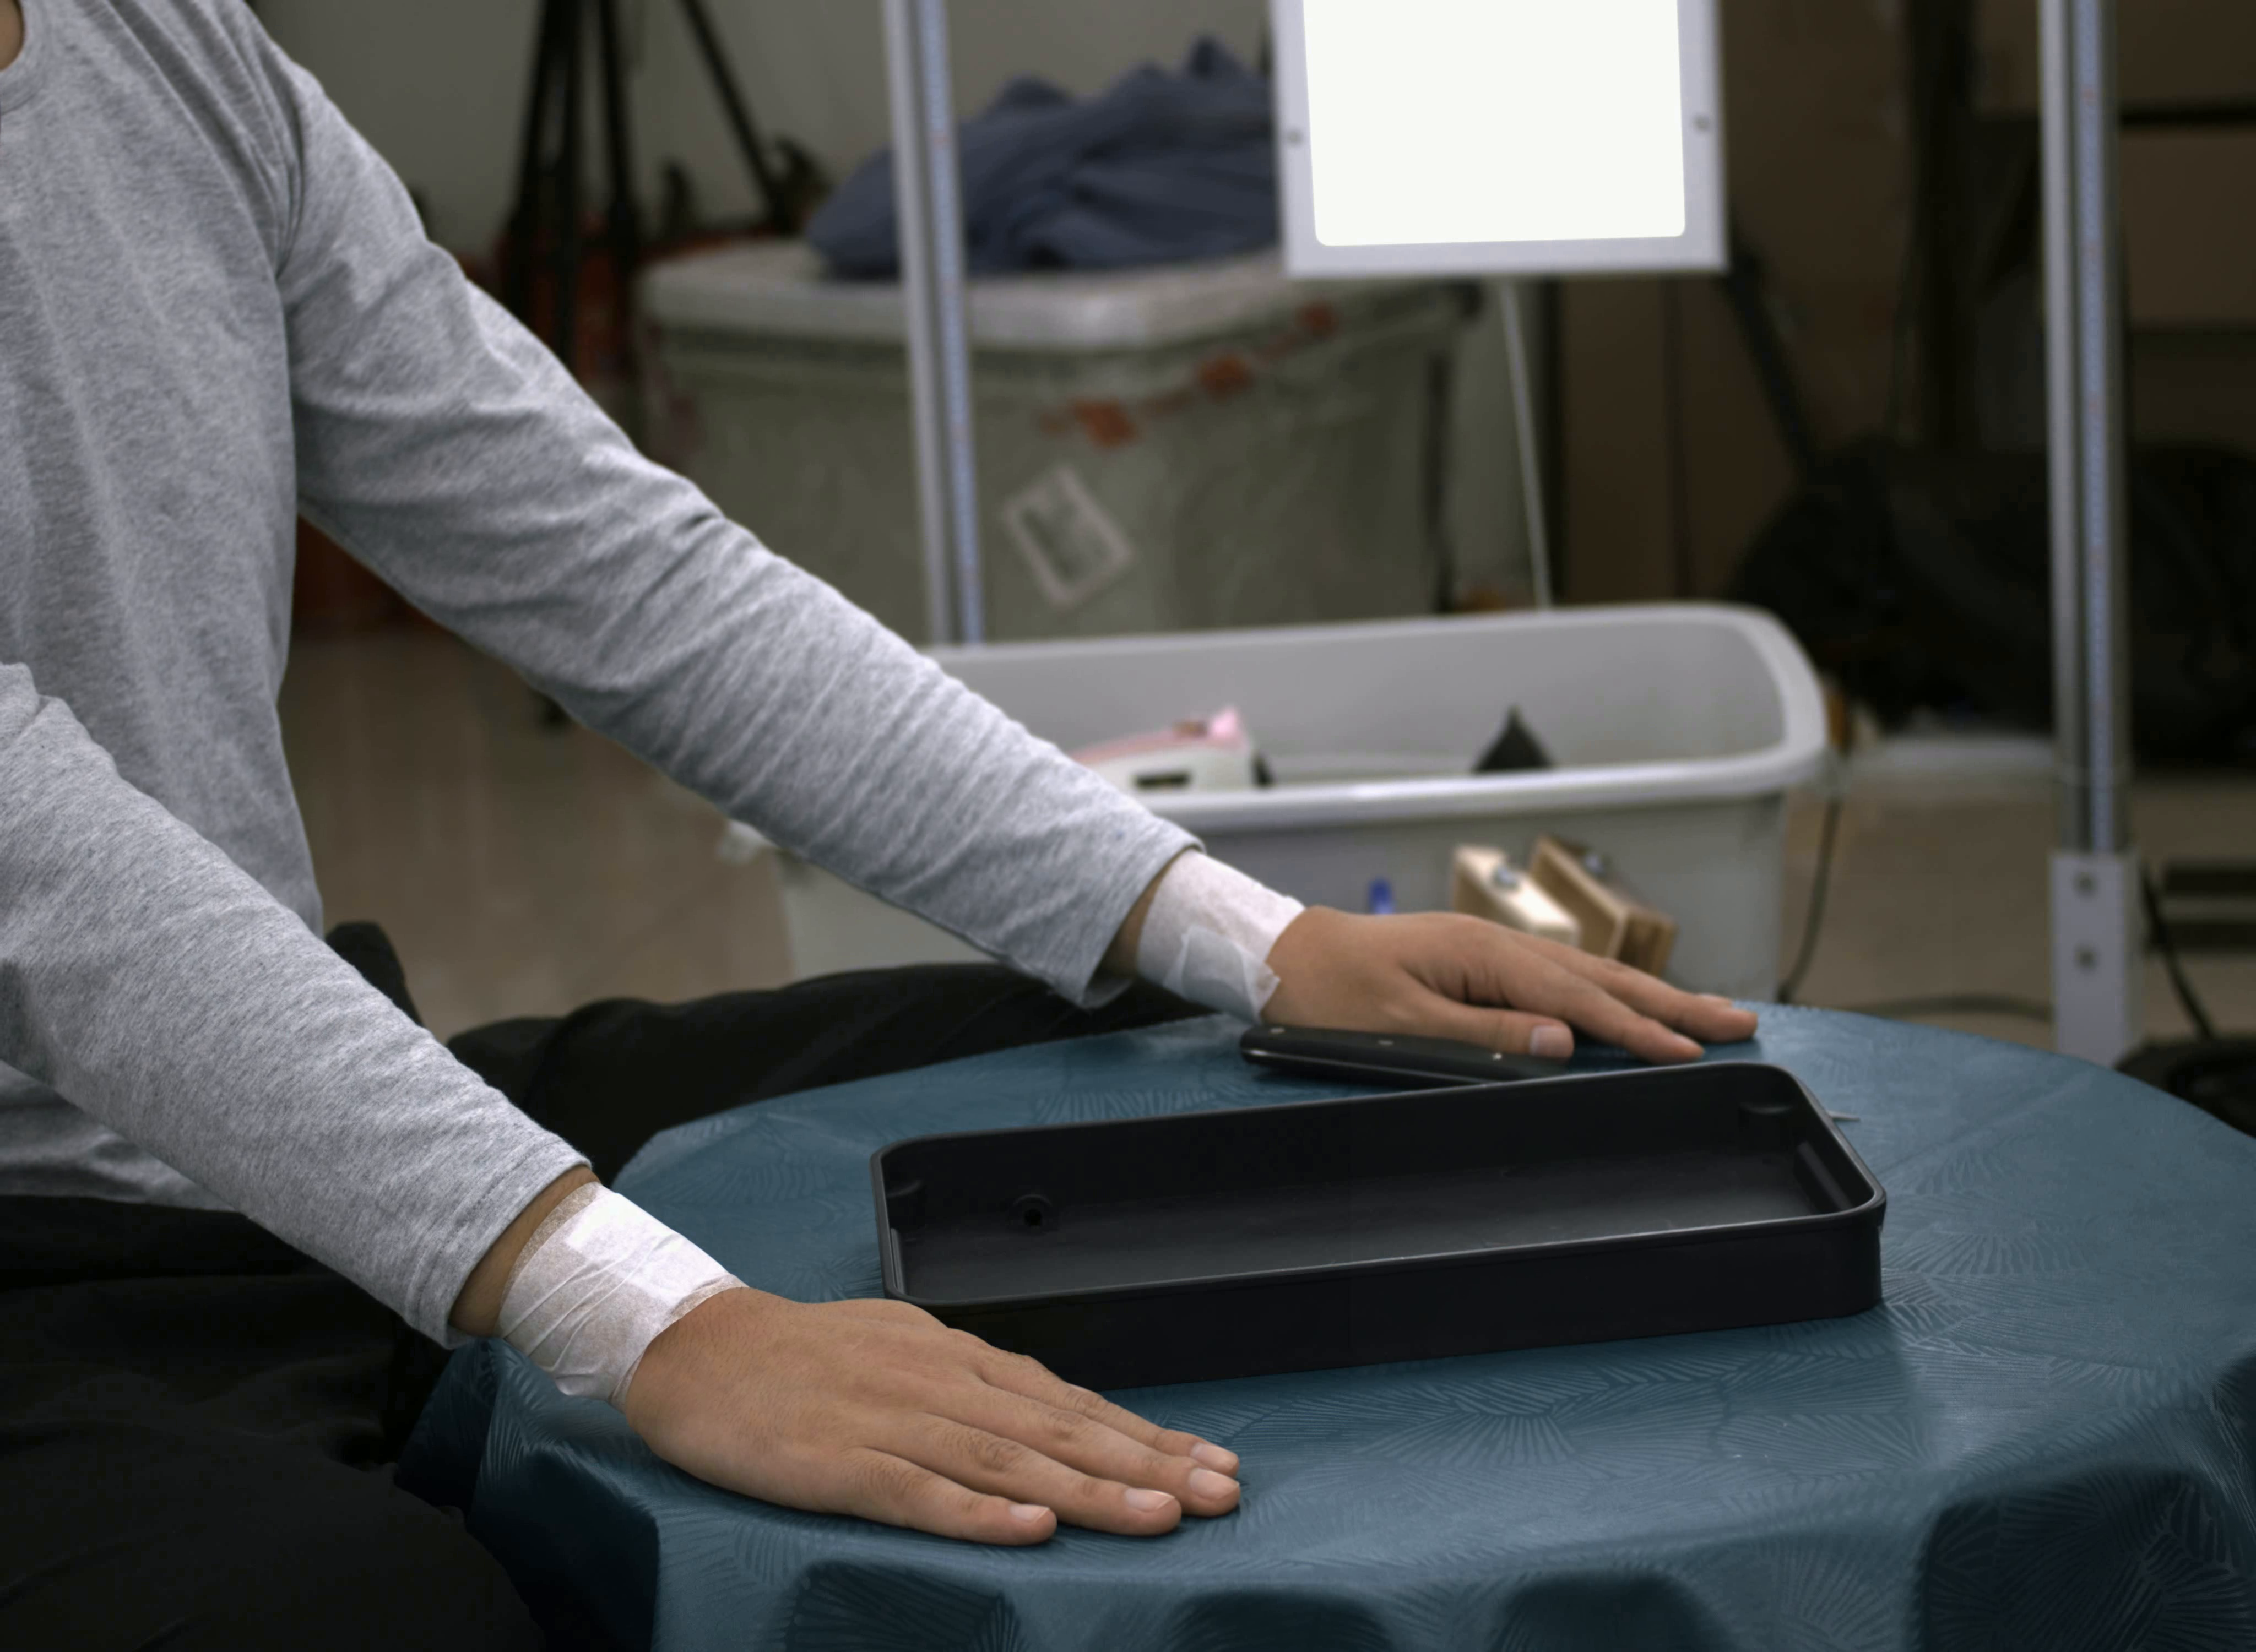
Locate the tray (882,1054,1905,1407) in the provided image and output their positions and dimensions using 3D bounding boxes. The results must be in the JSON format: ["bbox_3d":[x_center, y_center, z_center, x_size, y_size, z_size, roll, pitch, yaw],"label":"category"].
[{"bbox_3d":[0.083,0.129,1.789,0.316,0.037,0.184,-6,13,-2],"label":"tray"}]

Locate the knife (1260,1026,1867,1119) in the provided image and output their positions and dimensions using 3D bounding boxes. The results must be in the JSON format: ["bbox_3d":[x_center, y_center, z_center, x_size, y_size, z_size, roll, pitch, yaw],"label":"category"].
[{"bbox_3d":[0.152,0.091,1.969,0.242,0.016,0.024,6,19,29],"label":"knife"}]
